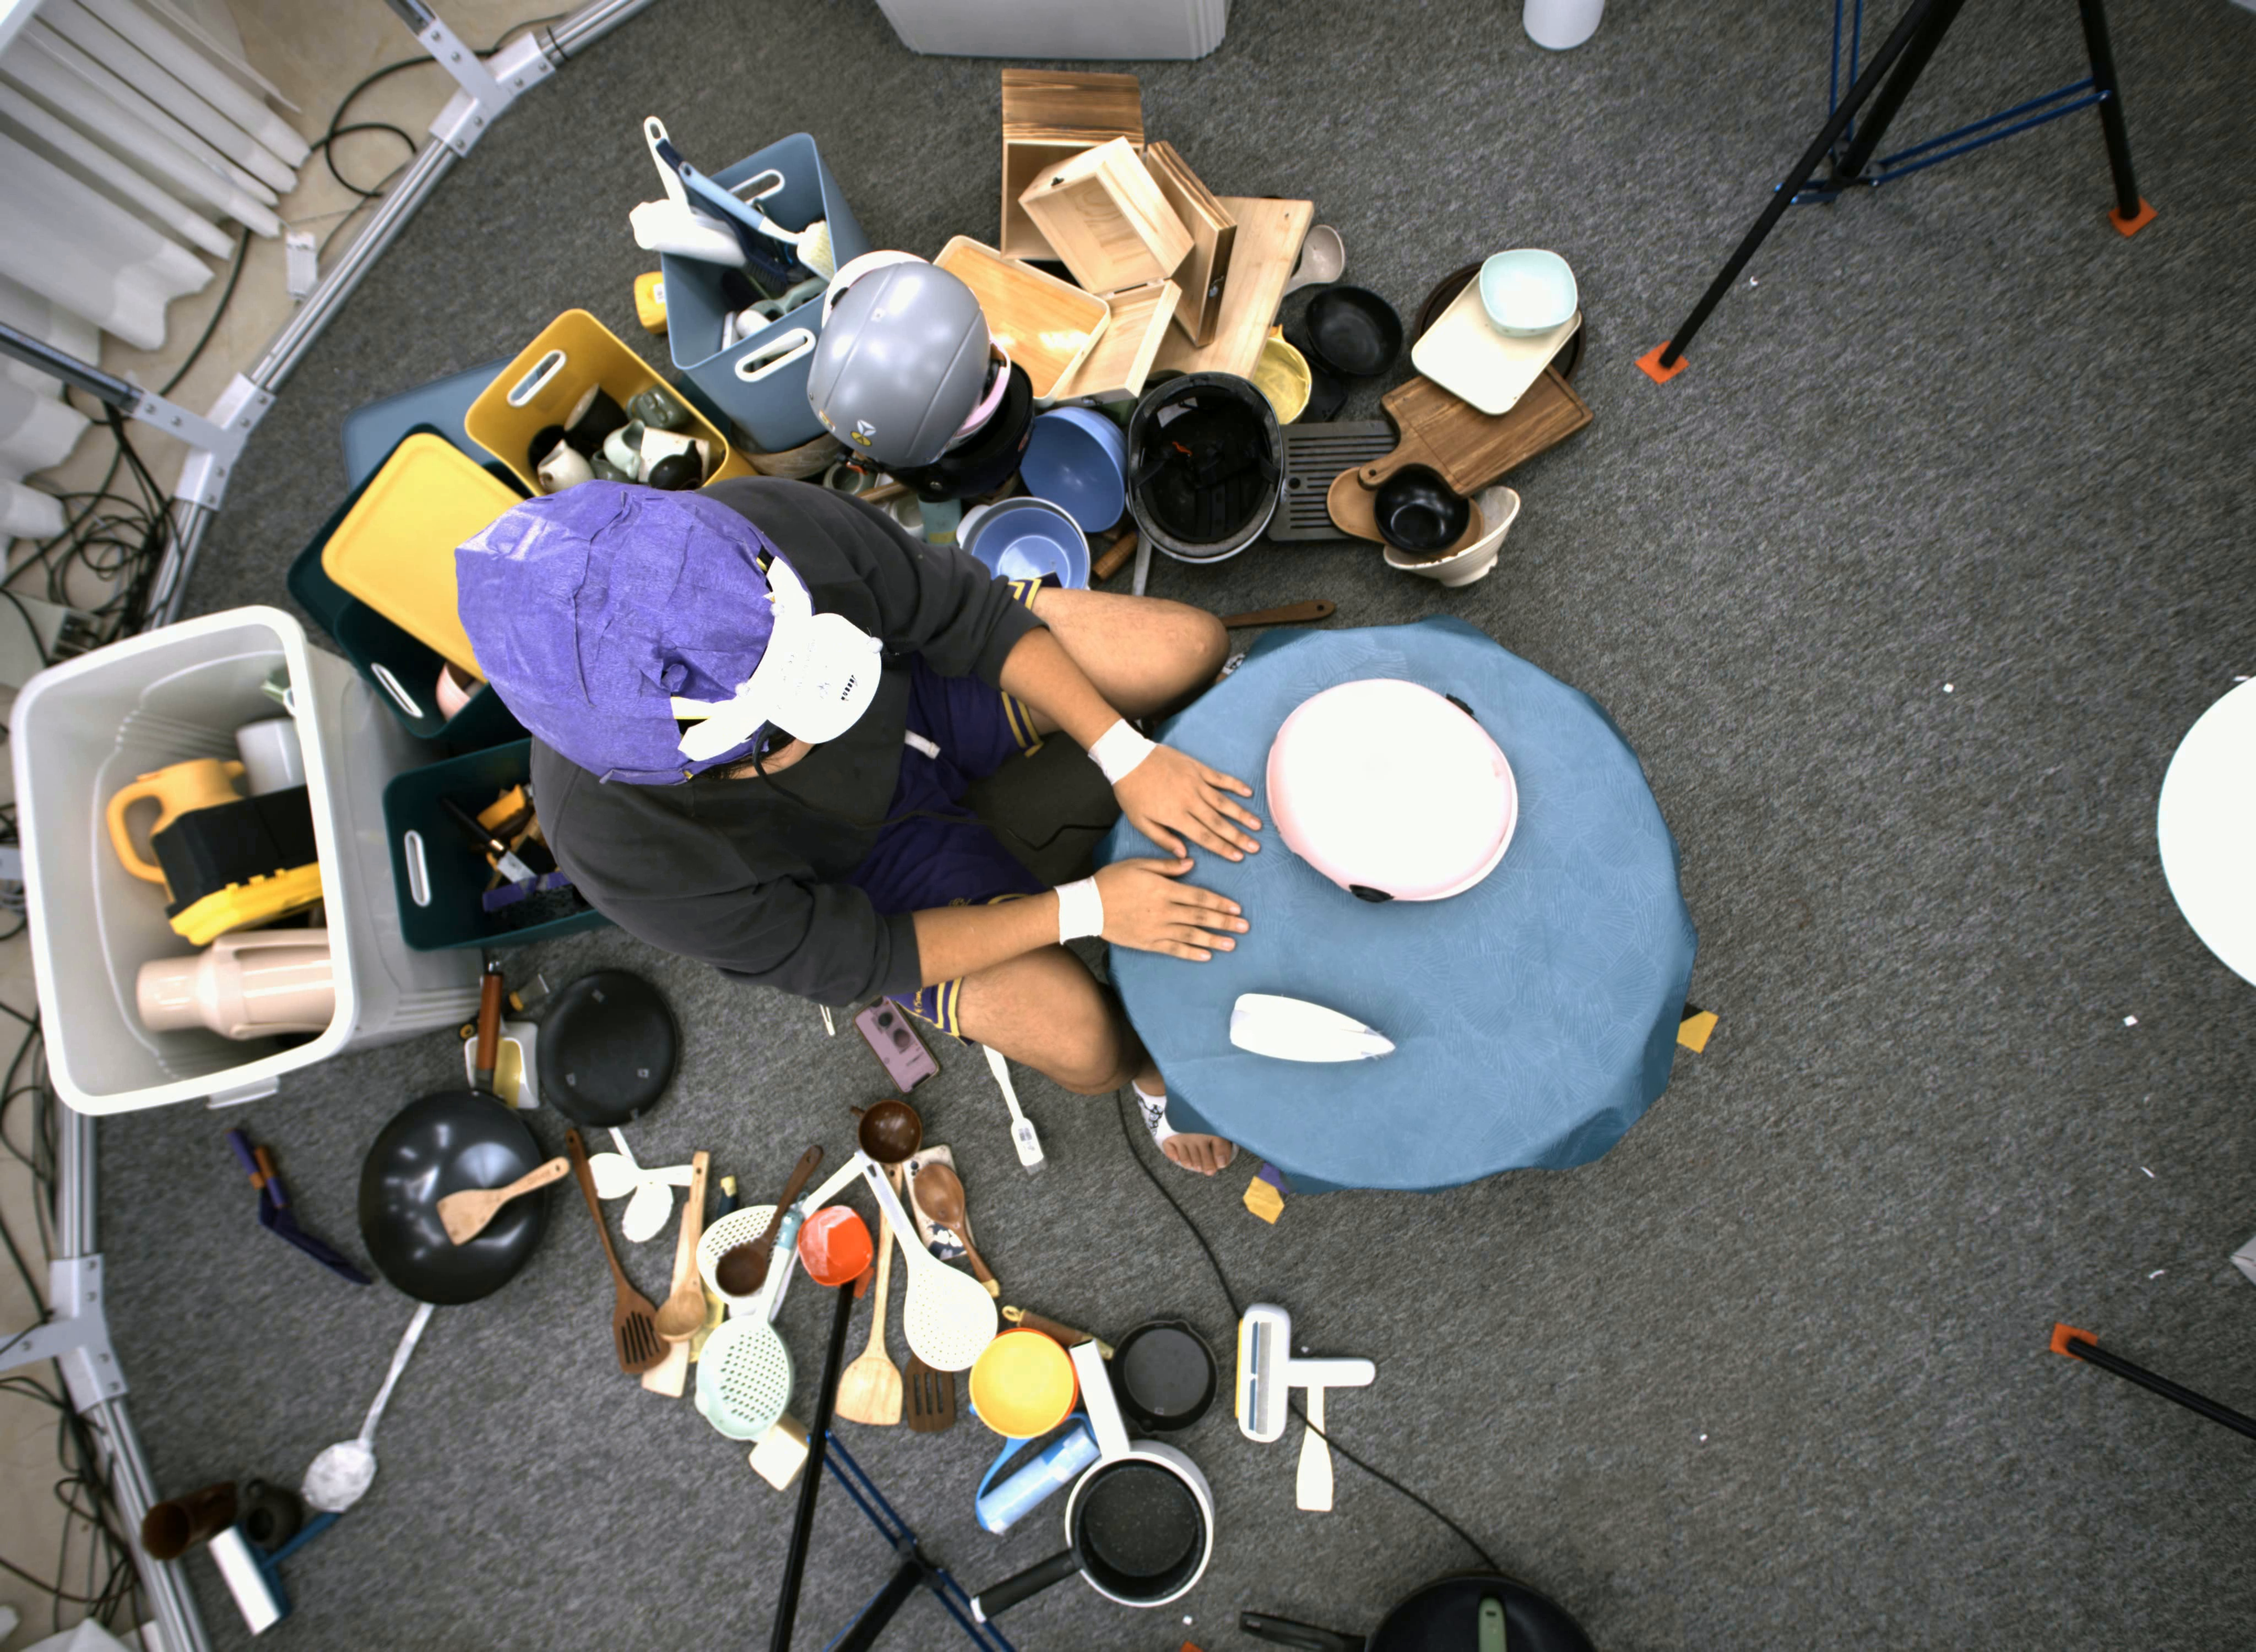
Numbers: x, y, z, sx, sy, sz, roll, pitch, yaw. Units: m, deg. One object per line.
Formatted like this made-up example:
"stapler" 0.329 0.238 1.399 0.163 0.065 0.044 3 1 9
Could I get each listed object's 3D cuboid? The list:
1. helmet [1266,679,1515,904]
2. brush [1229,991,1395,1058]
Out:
"helmet" 0.269 -0.042 1.390 0.266 0.159 0.234 25 90 7
"brush" 0.188 0.209 1.420 0.176 0.094 0.061 9 87 9
